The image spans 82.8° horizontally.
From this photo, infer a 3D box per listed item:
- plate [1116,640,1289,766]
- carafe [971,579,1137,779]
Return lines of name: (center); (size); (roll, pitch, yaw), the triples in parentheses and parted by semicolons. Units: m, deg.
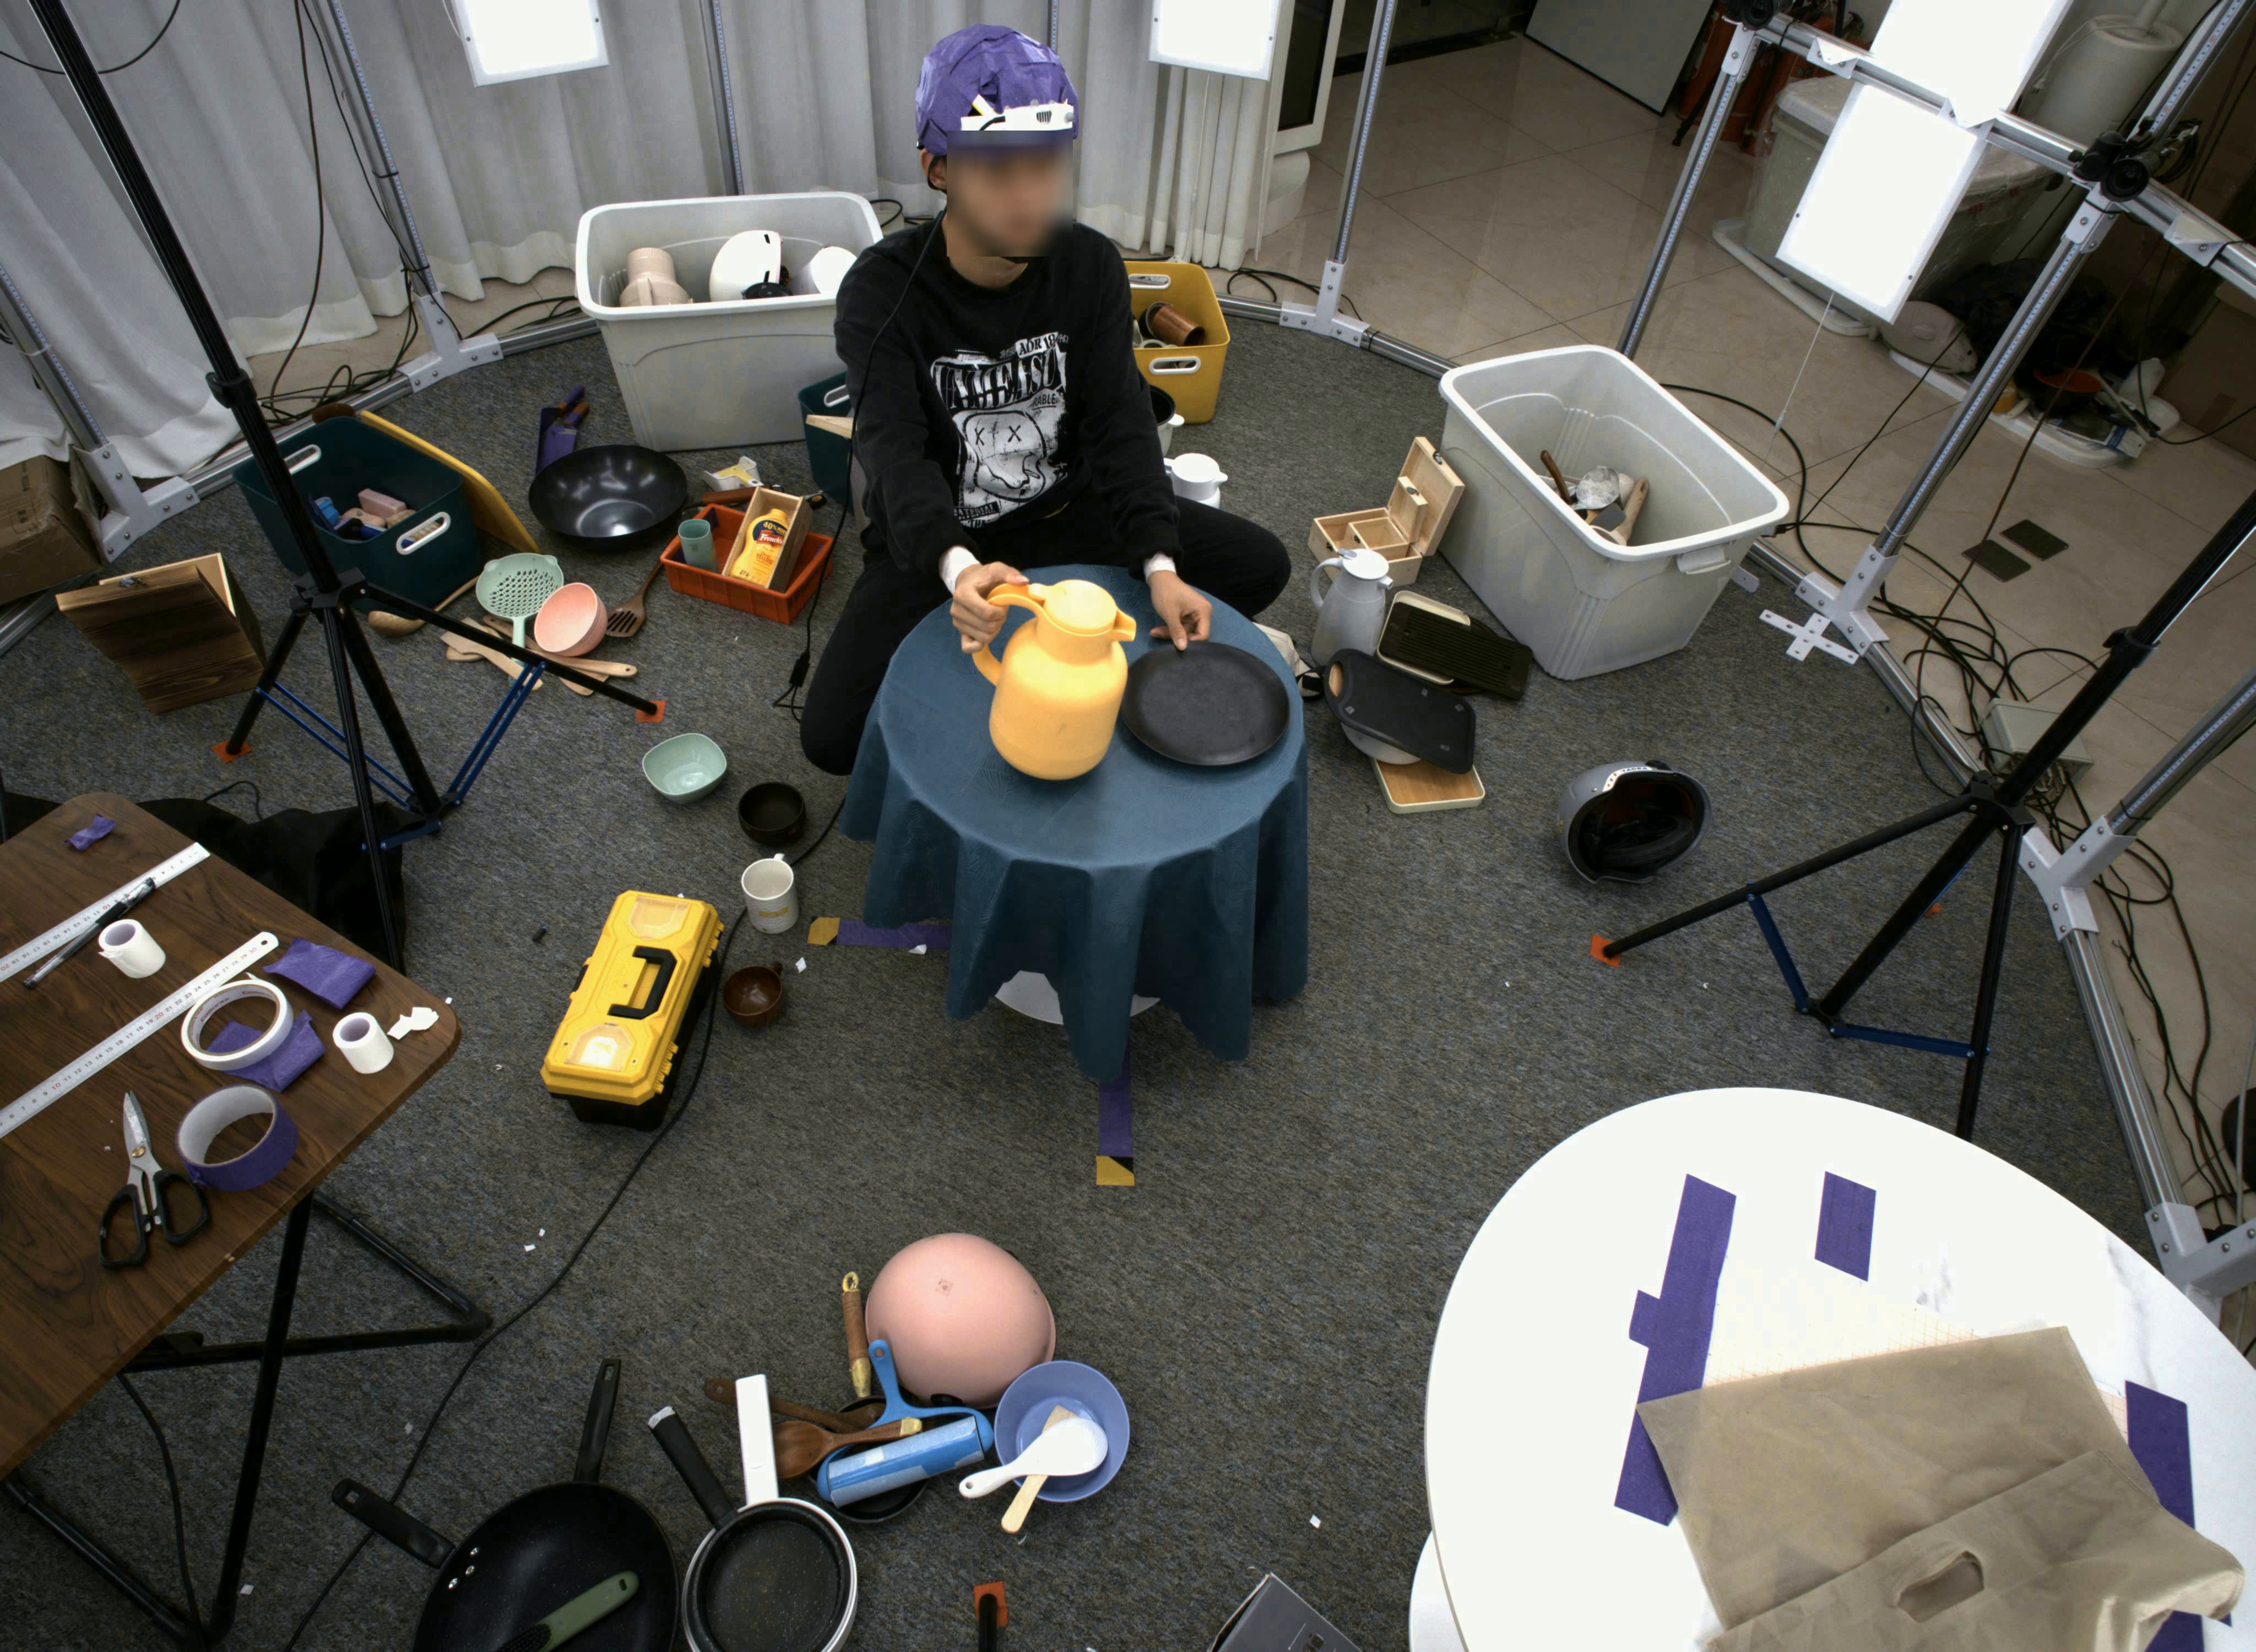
plate: (0.105, -0.170, 1.806); (0.244, 0.023, 0.250); (2, 50, -2)
carafe: (-0.102, -0.199, 1.634); (0.202, 0.255, 0.167); (22, 45, 1)
